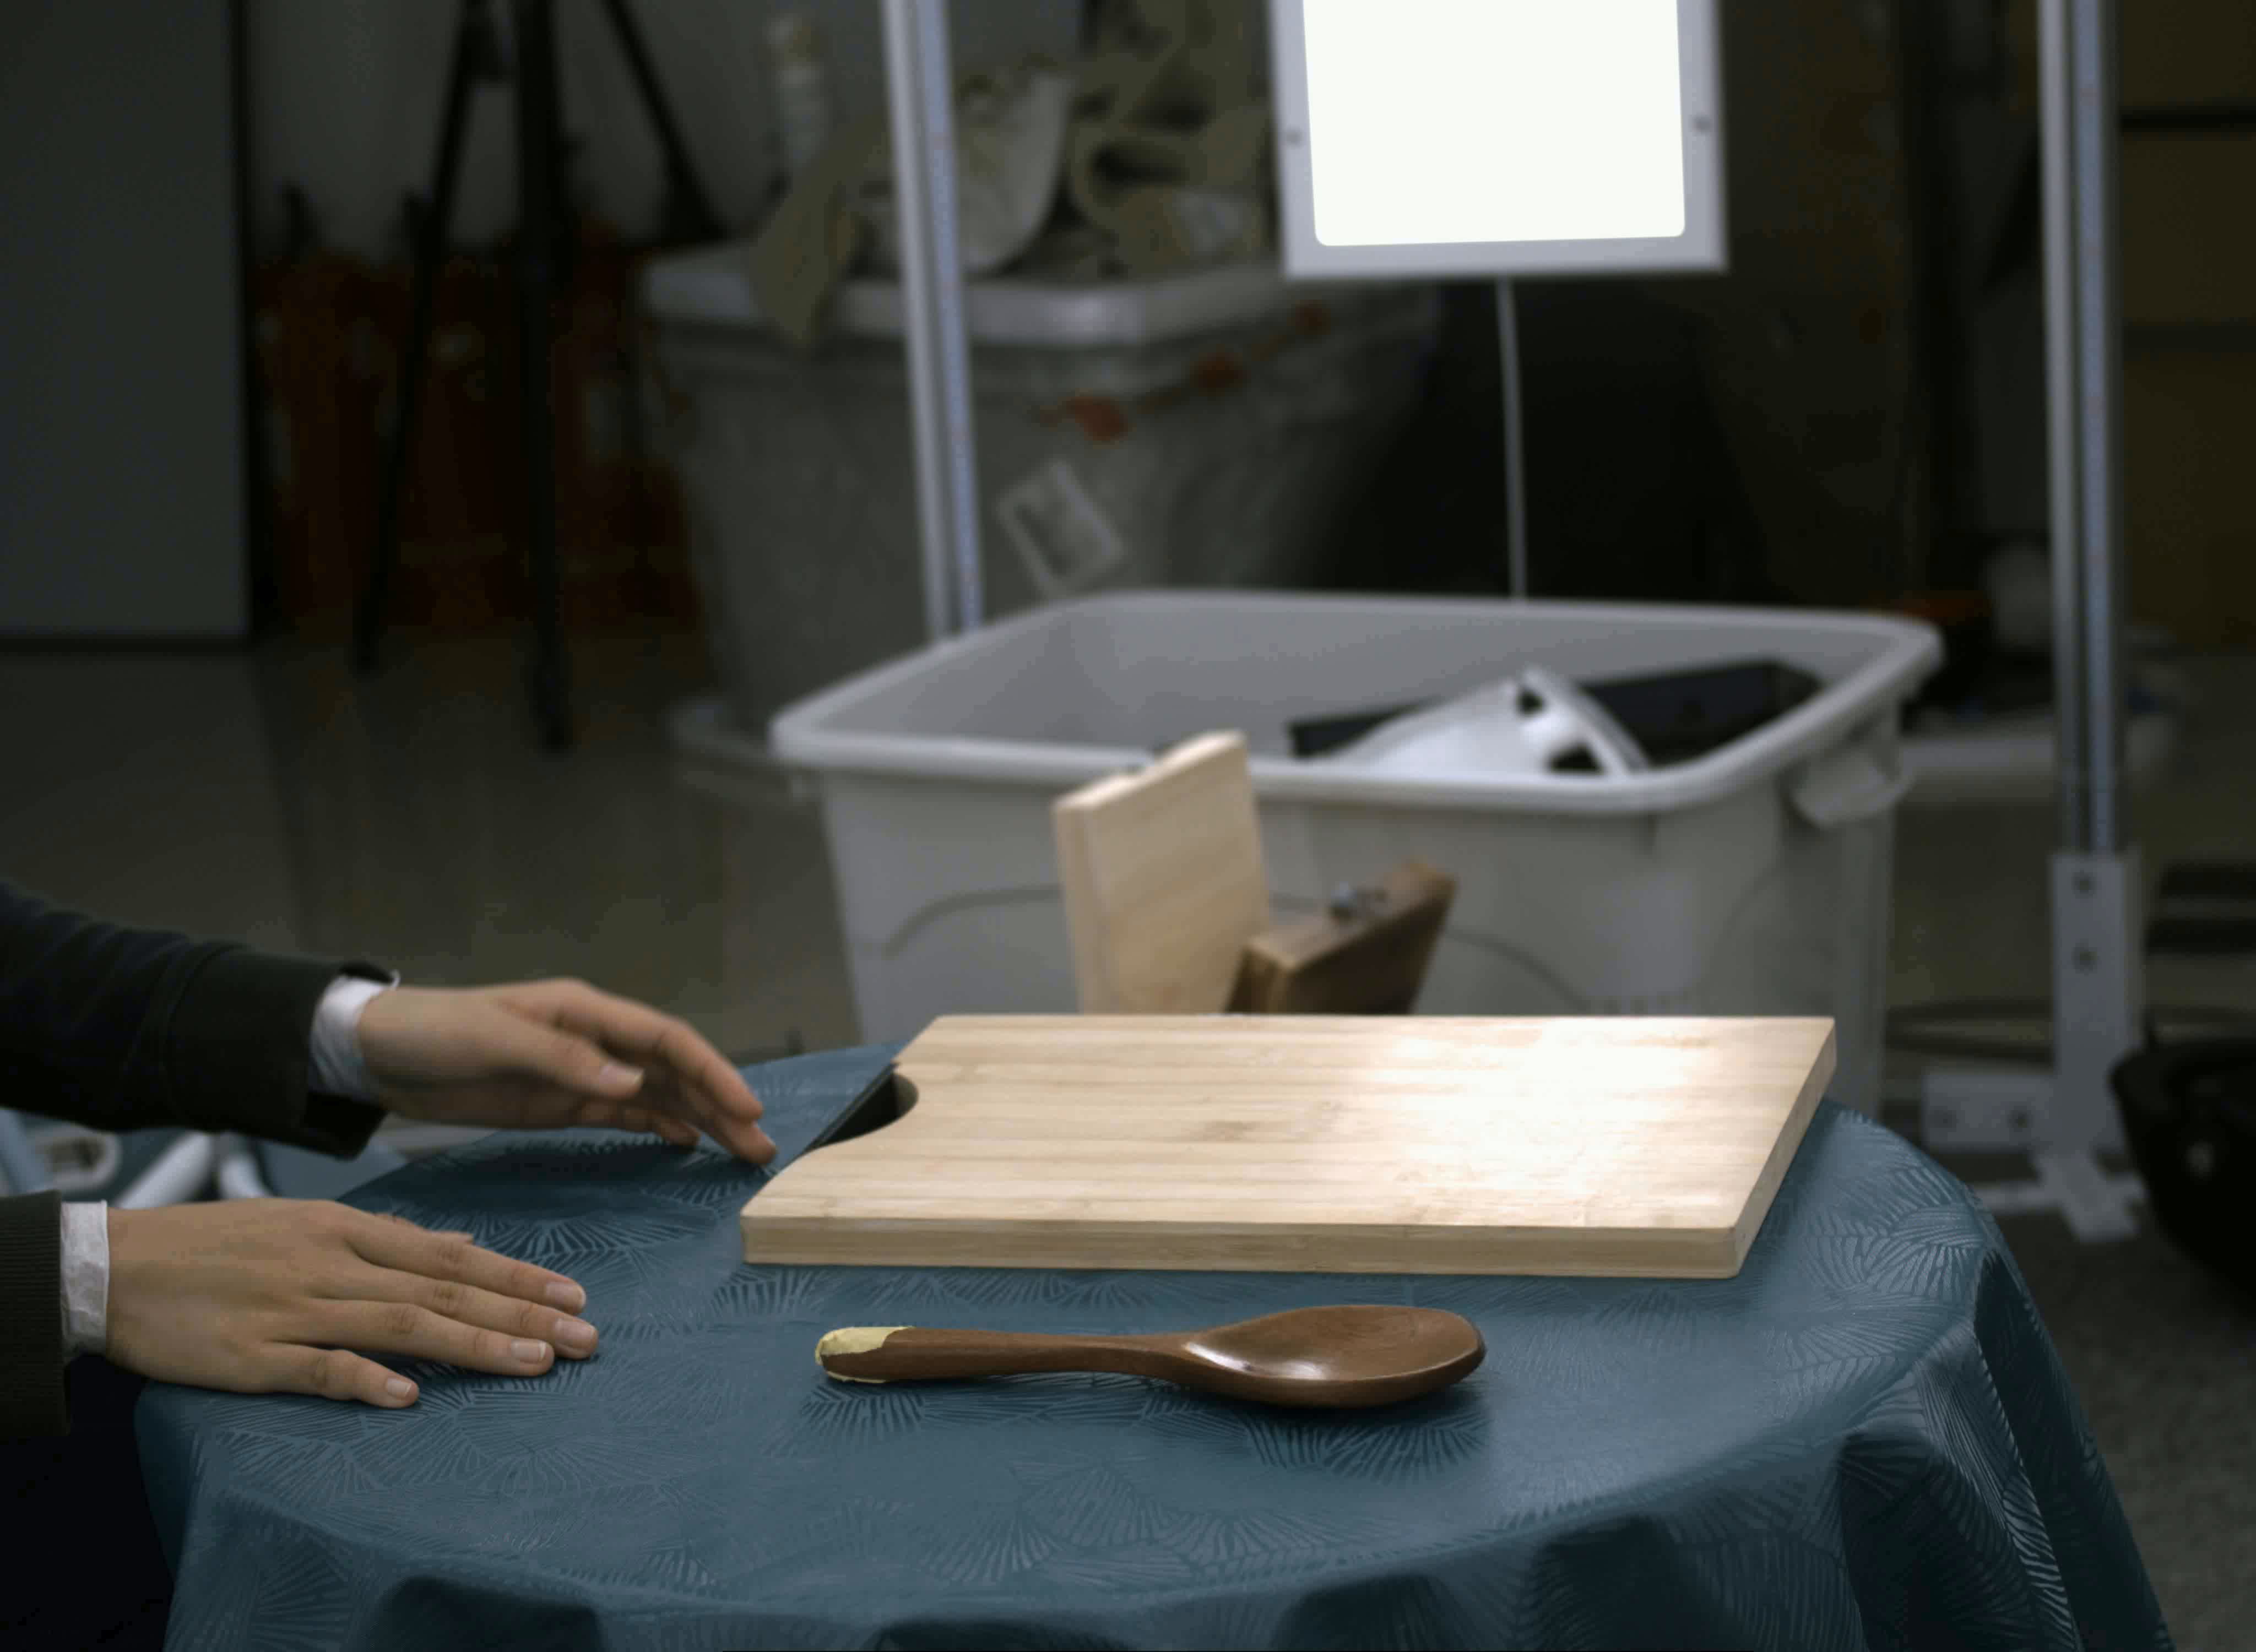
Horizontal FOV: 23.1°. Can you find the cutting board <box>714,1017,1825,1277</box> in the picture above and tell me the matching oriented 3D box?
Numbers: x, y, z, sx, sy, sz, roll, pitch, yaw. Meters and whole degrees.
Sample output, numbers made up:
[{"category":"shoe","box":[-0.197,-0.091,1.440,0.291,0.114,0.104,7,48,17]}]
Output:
[{"category":"cutting board","box":[0.056,0.109,1.917,0.352,0.023,0.247,-1,14,16]}]

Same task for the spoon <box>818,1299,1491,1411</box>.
[{"category":"spoon","box":[0.007,0.164,1.705,0.218,0.017,0.074,0,16,18]}]
